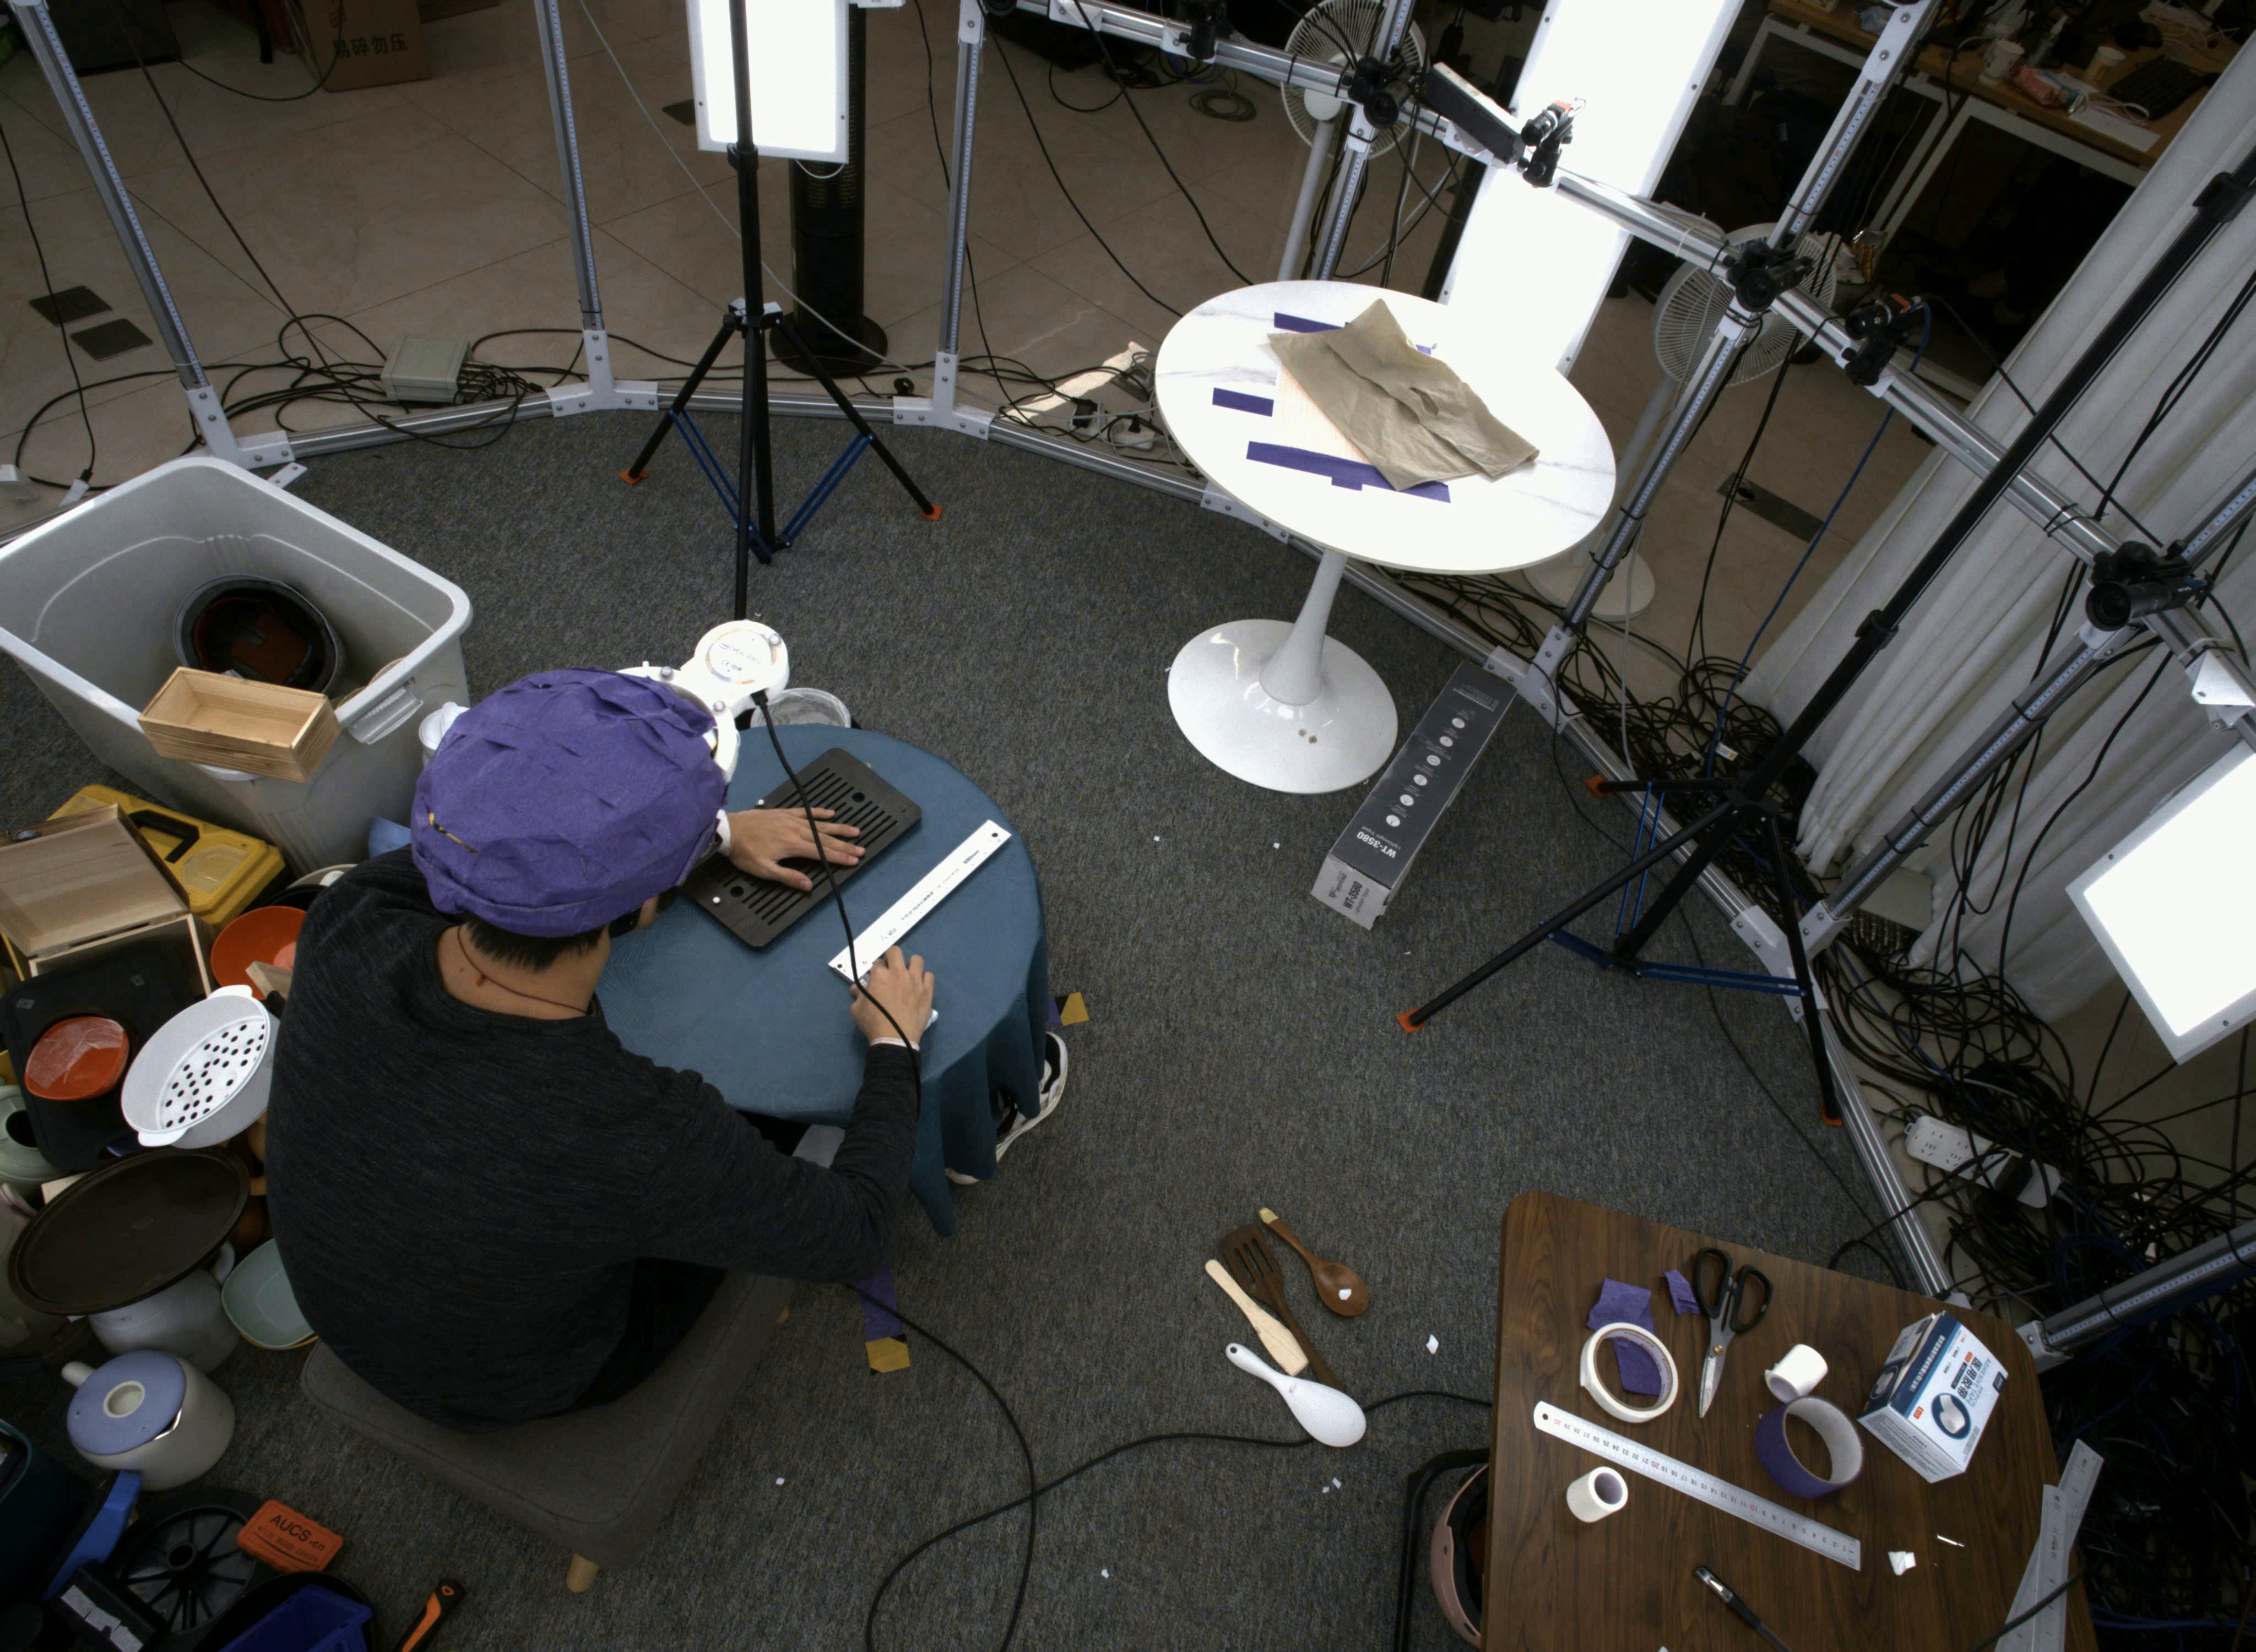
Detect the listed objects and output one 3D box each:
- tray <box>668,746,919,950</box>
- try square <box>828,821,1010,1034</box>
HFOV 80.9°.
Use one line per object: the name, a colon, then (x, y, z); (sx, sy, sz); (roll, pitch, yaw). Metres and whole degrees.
tray: (-0.431, 0.022, 1.689); (0.167, 0.019, 0.306); (37, 54, 13)
try square: (-0.222, 0.119, 1.666); (0.148, 0.016, 0.313); (33, 53, 17)
